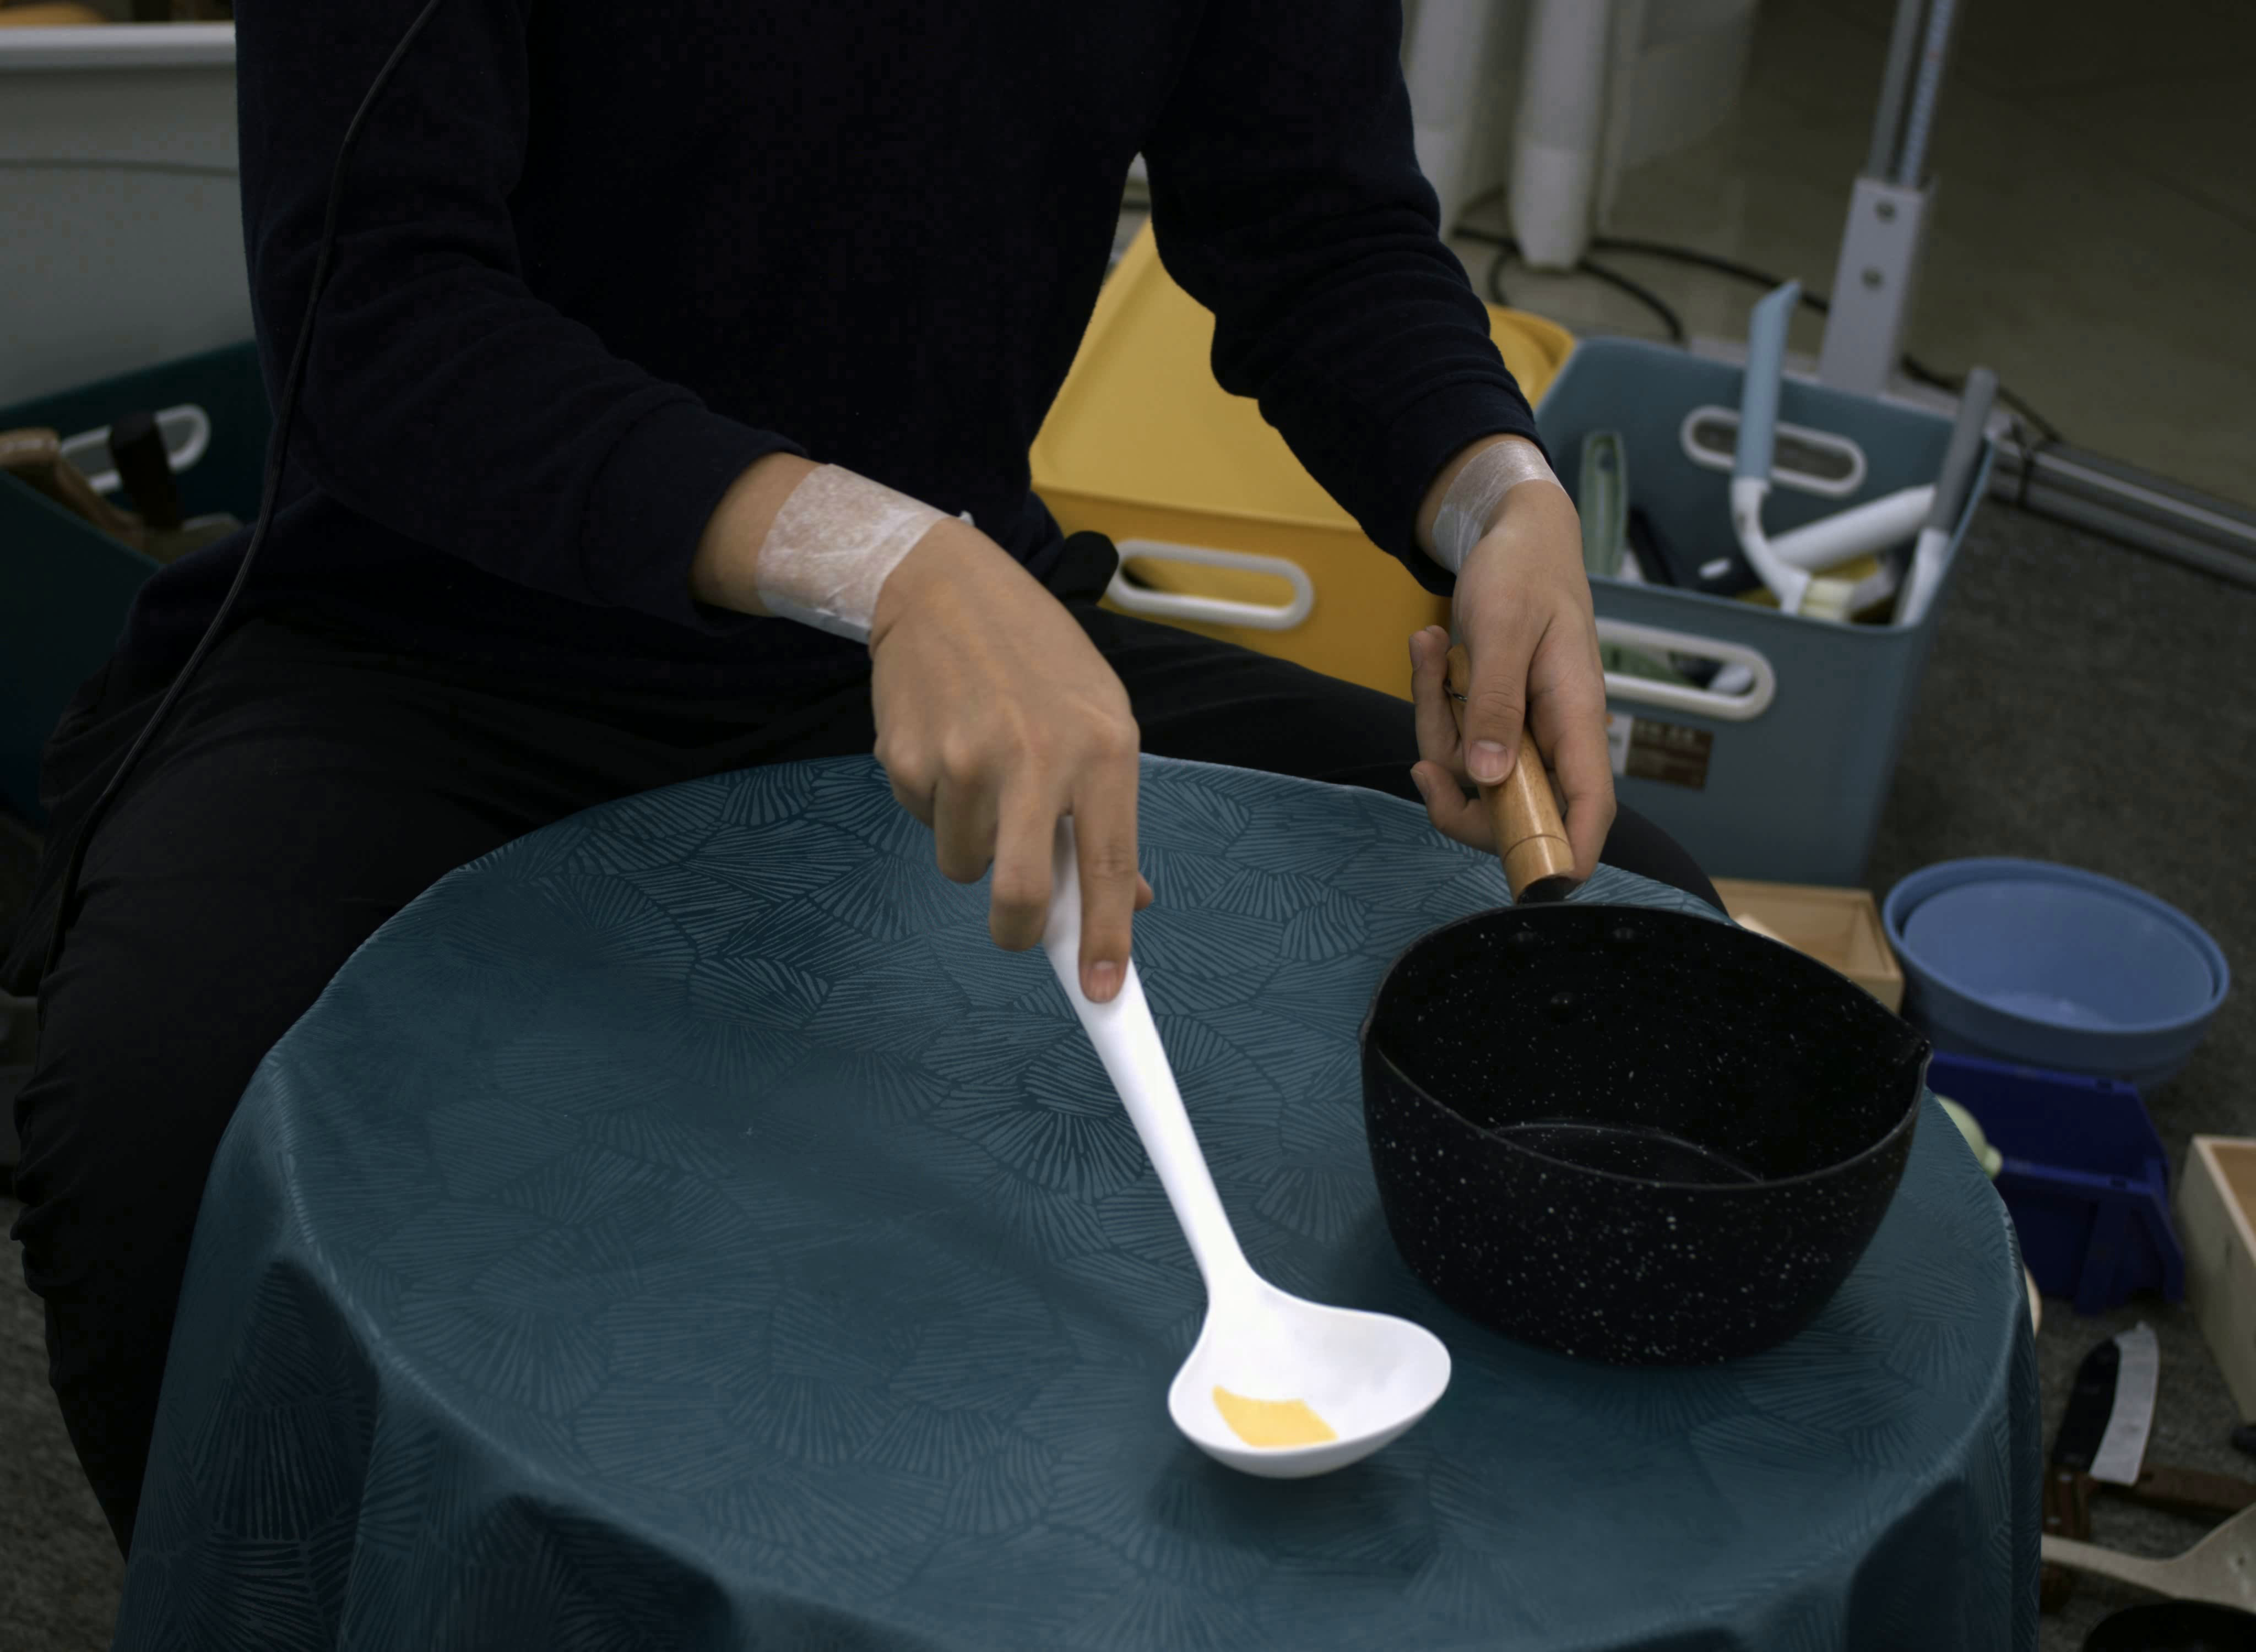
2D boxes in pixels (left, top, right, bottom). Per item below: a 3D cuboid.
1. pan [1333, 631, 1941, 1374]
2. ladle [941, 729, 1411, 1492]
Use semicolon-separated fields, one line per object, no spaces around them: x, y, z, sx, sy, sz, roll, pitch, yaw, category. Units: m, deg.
0.152;0.058;1.843;0.206;0.108;0.346;-1;30;-13;pan
0.003;0.086;1.701;0.090;0.069;0.295;-18;62;-9;ladle
